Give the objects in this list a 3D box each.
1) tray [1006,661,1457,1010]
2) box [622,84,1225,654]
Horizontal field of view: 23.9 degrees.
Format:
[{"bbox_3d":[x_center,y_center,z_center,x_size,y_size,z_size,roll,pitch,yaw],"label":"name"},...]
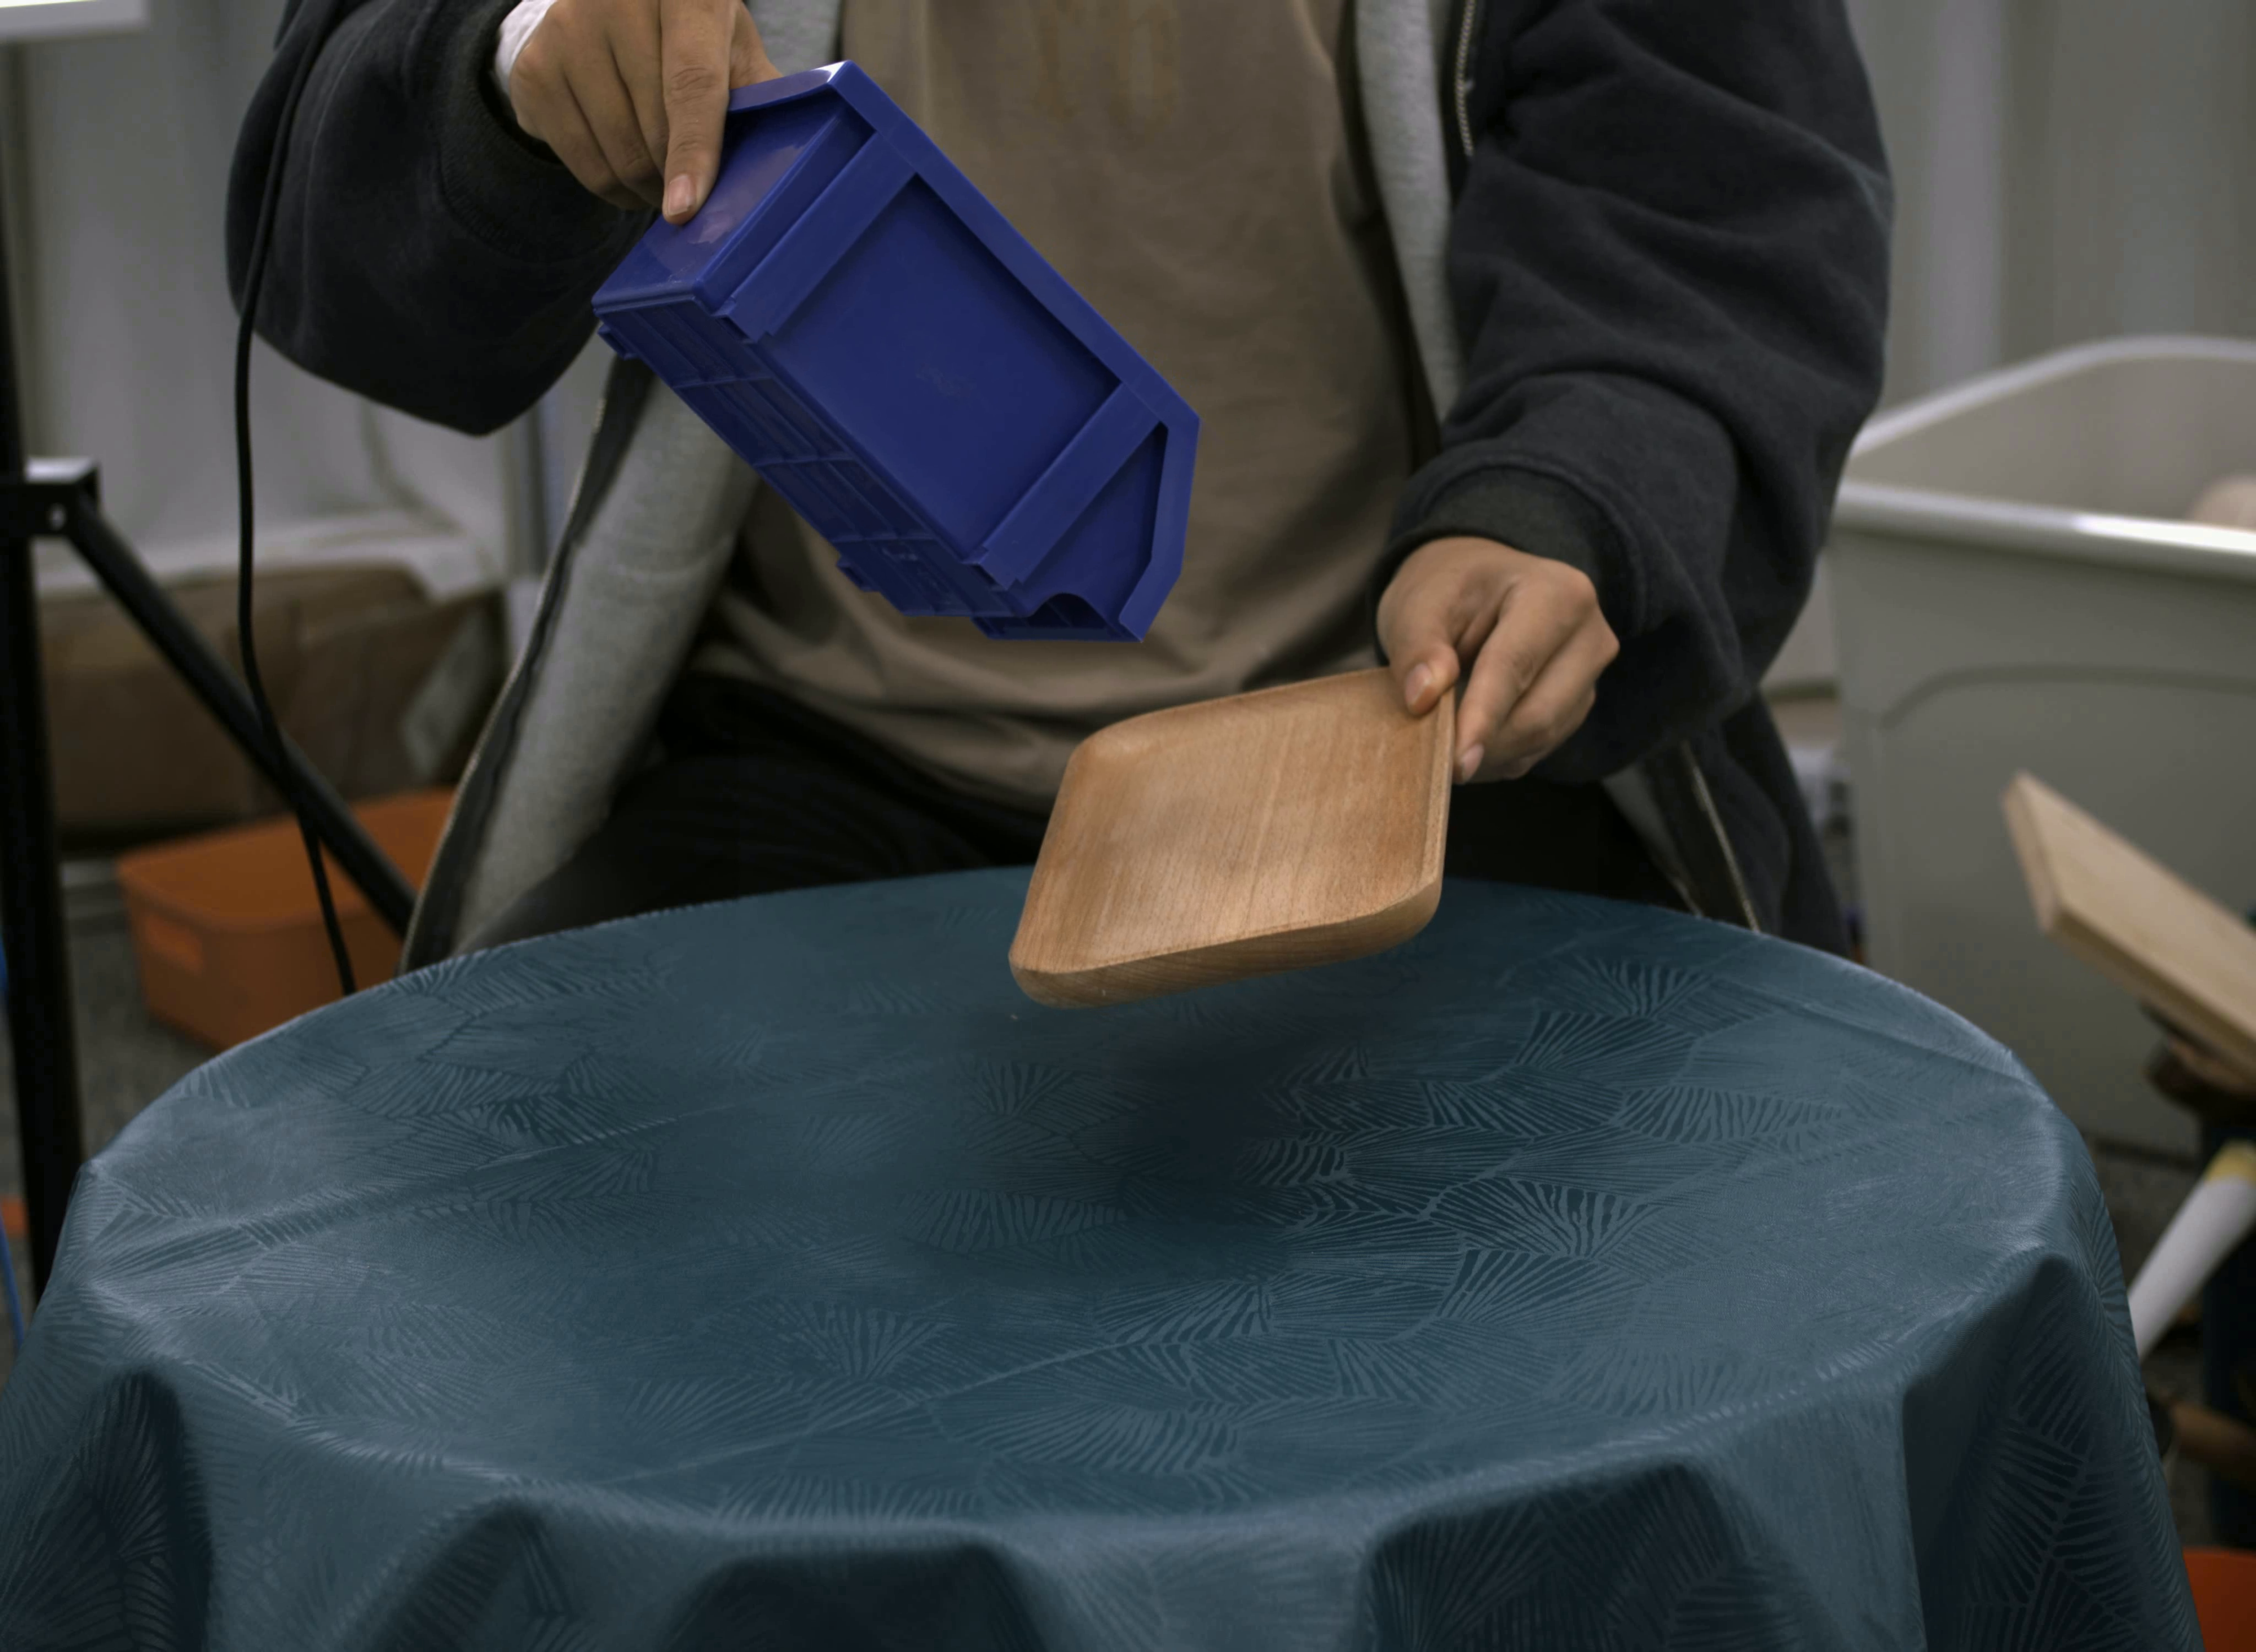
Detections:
[{"bbox_3d":[0.036,0.001,1.611,0.131,0.023,0.250,-9,17,9],"label":"tray"},{"bbox_3d":[-0.059,-0.126,1.597,0.082,0.177,0.126,-54,16,-13],"label":"box"}]
